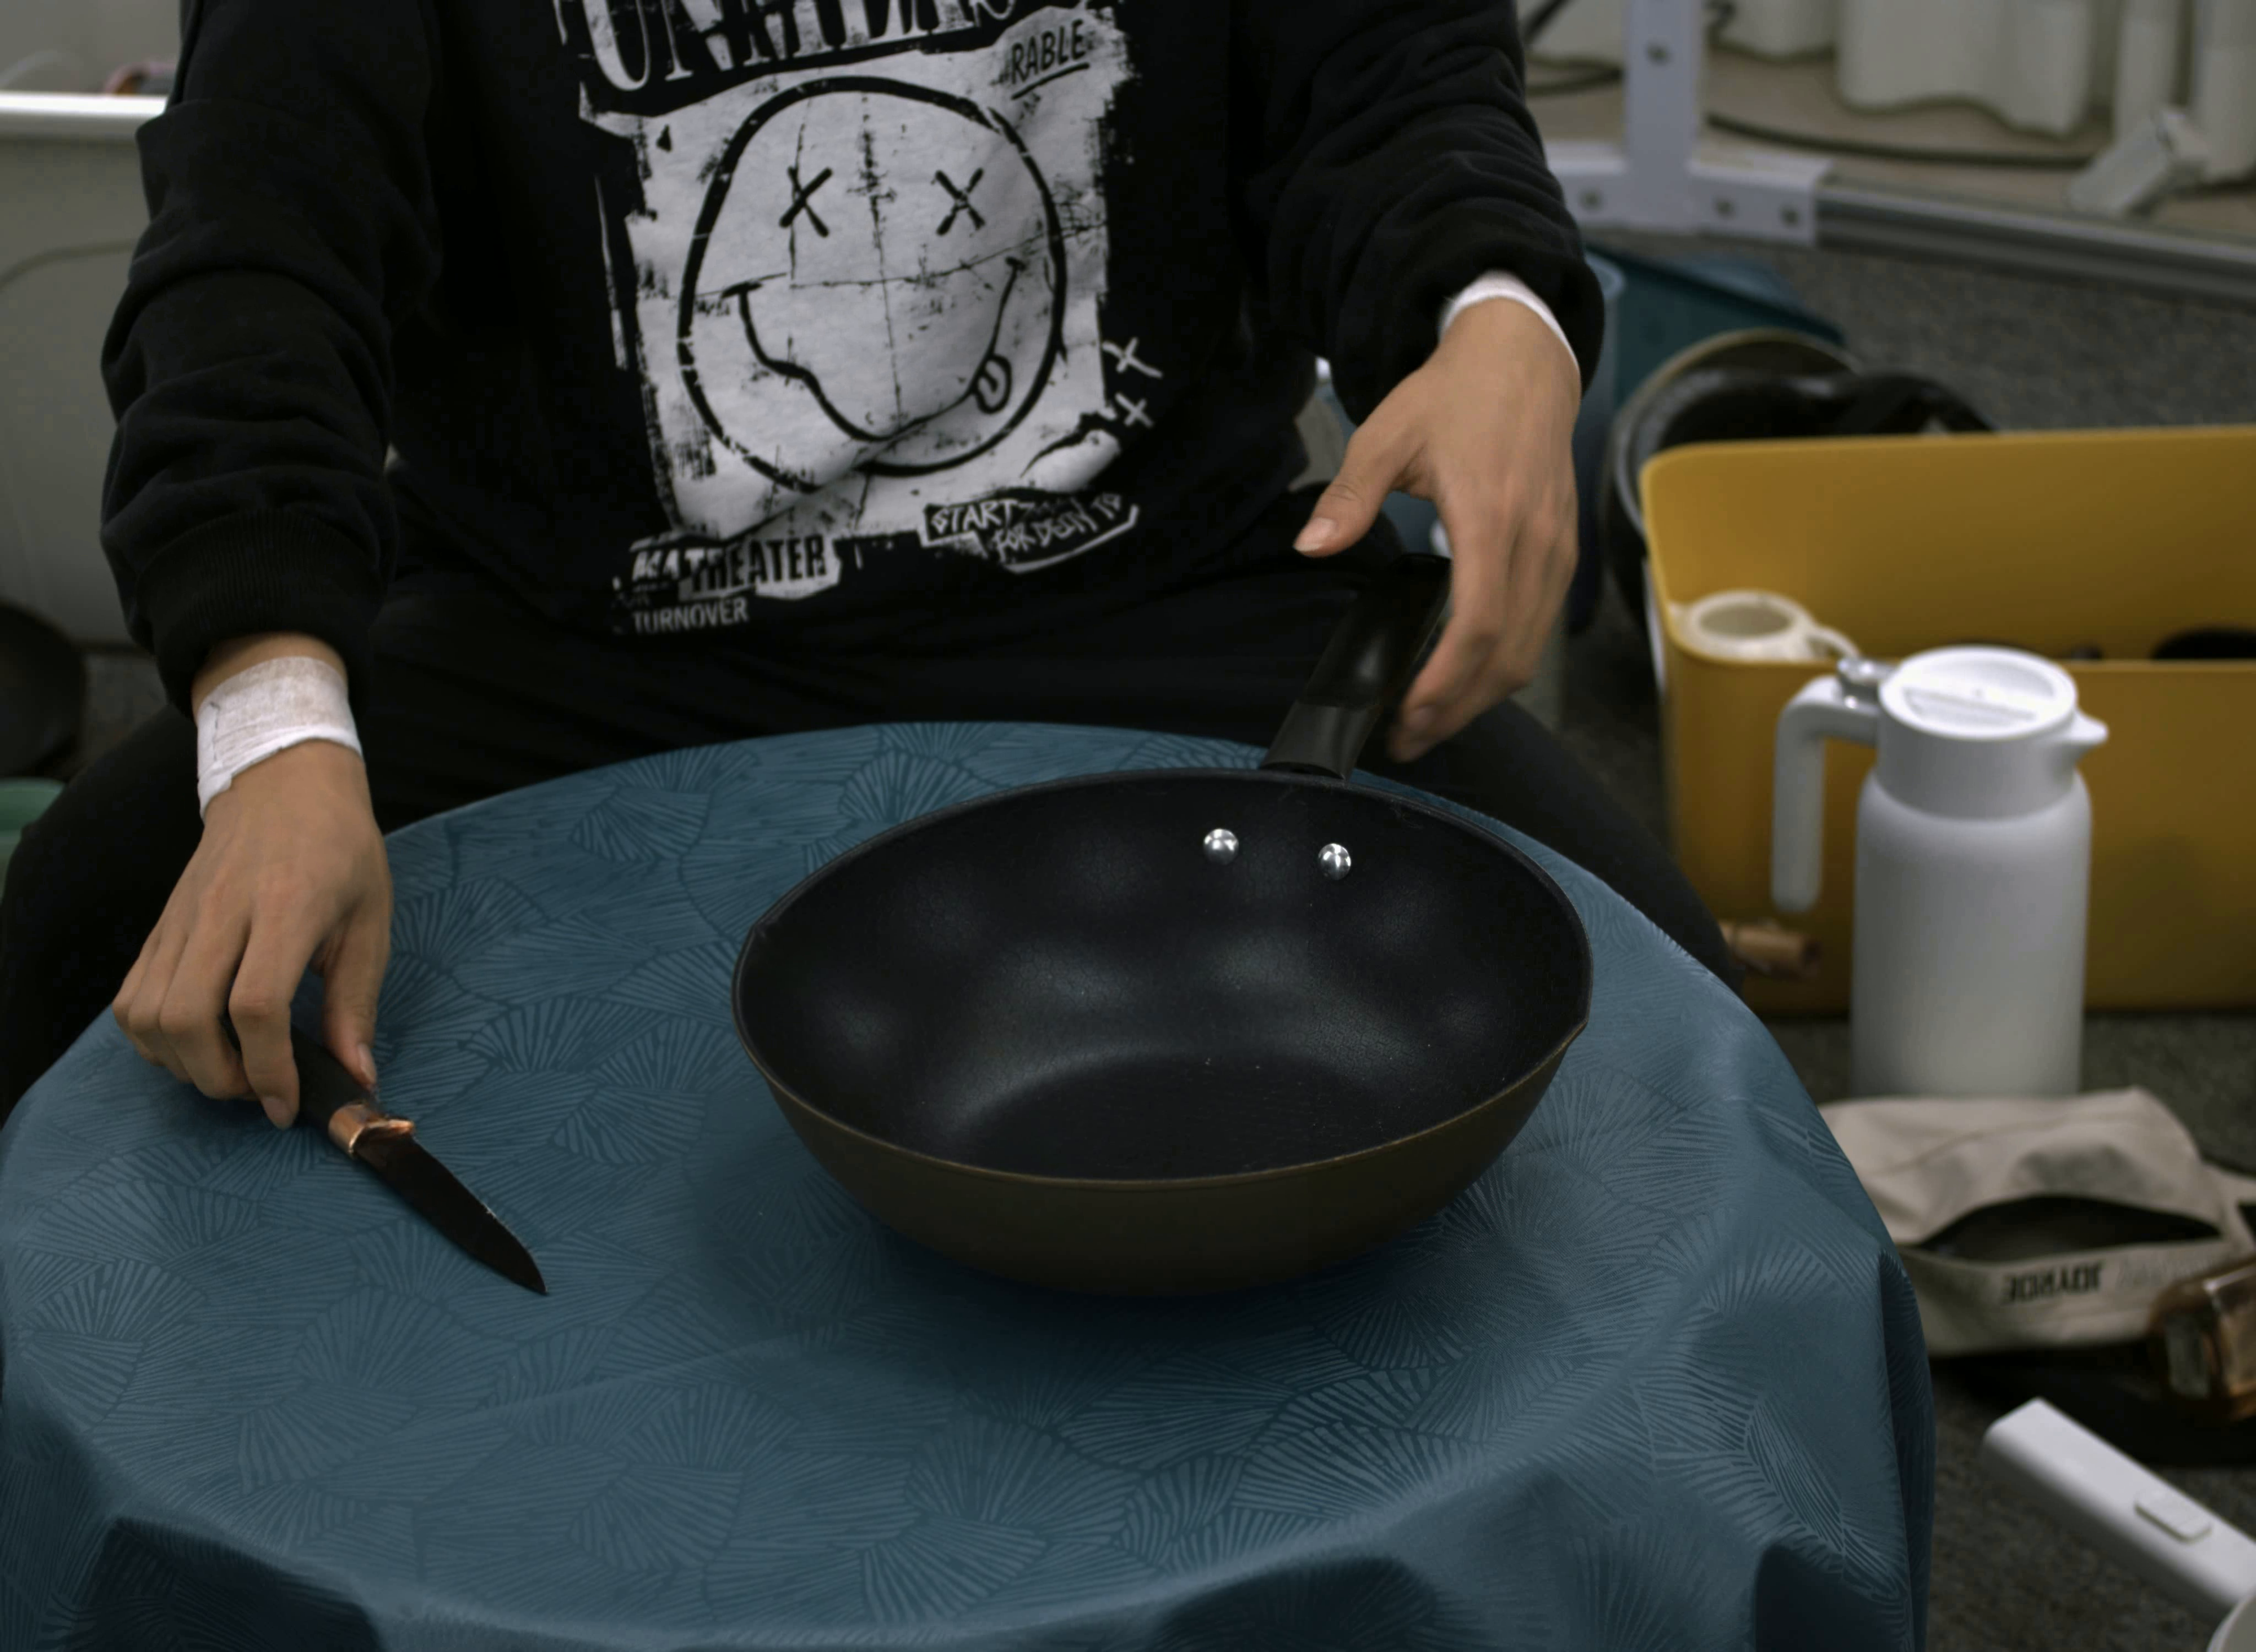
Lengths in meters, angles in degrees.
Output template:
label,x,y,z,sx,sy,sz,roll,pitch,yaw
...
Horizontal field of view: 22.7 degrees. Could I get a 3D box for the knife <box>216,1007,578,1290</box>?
label,x,y,z,sx,sy,sz,roll,pitch,yaw
knife,-0.250,0.110,1.897,0.026,0.017,0.226,-6,25,-36

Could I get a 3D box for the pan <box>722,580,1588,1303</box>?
label,x,y,z,sx,sy,sz,roll,pitch,yaw
pan,0.039,0.040,1.926,0.286,0.086,0.471,6,27,17
